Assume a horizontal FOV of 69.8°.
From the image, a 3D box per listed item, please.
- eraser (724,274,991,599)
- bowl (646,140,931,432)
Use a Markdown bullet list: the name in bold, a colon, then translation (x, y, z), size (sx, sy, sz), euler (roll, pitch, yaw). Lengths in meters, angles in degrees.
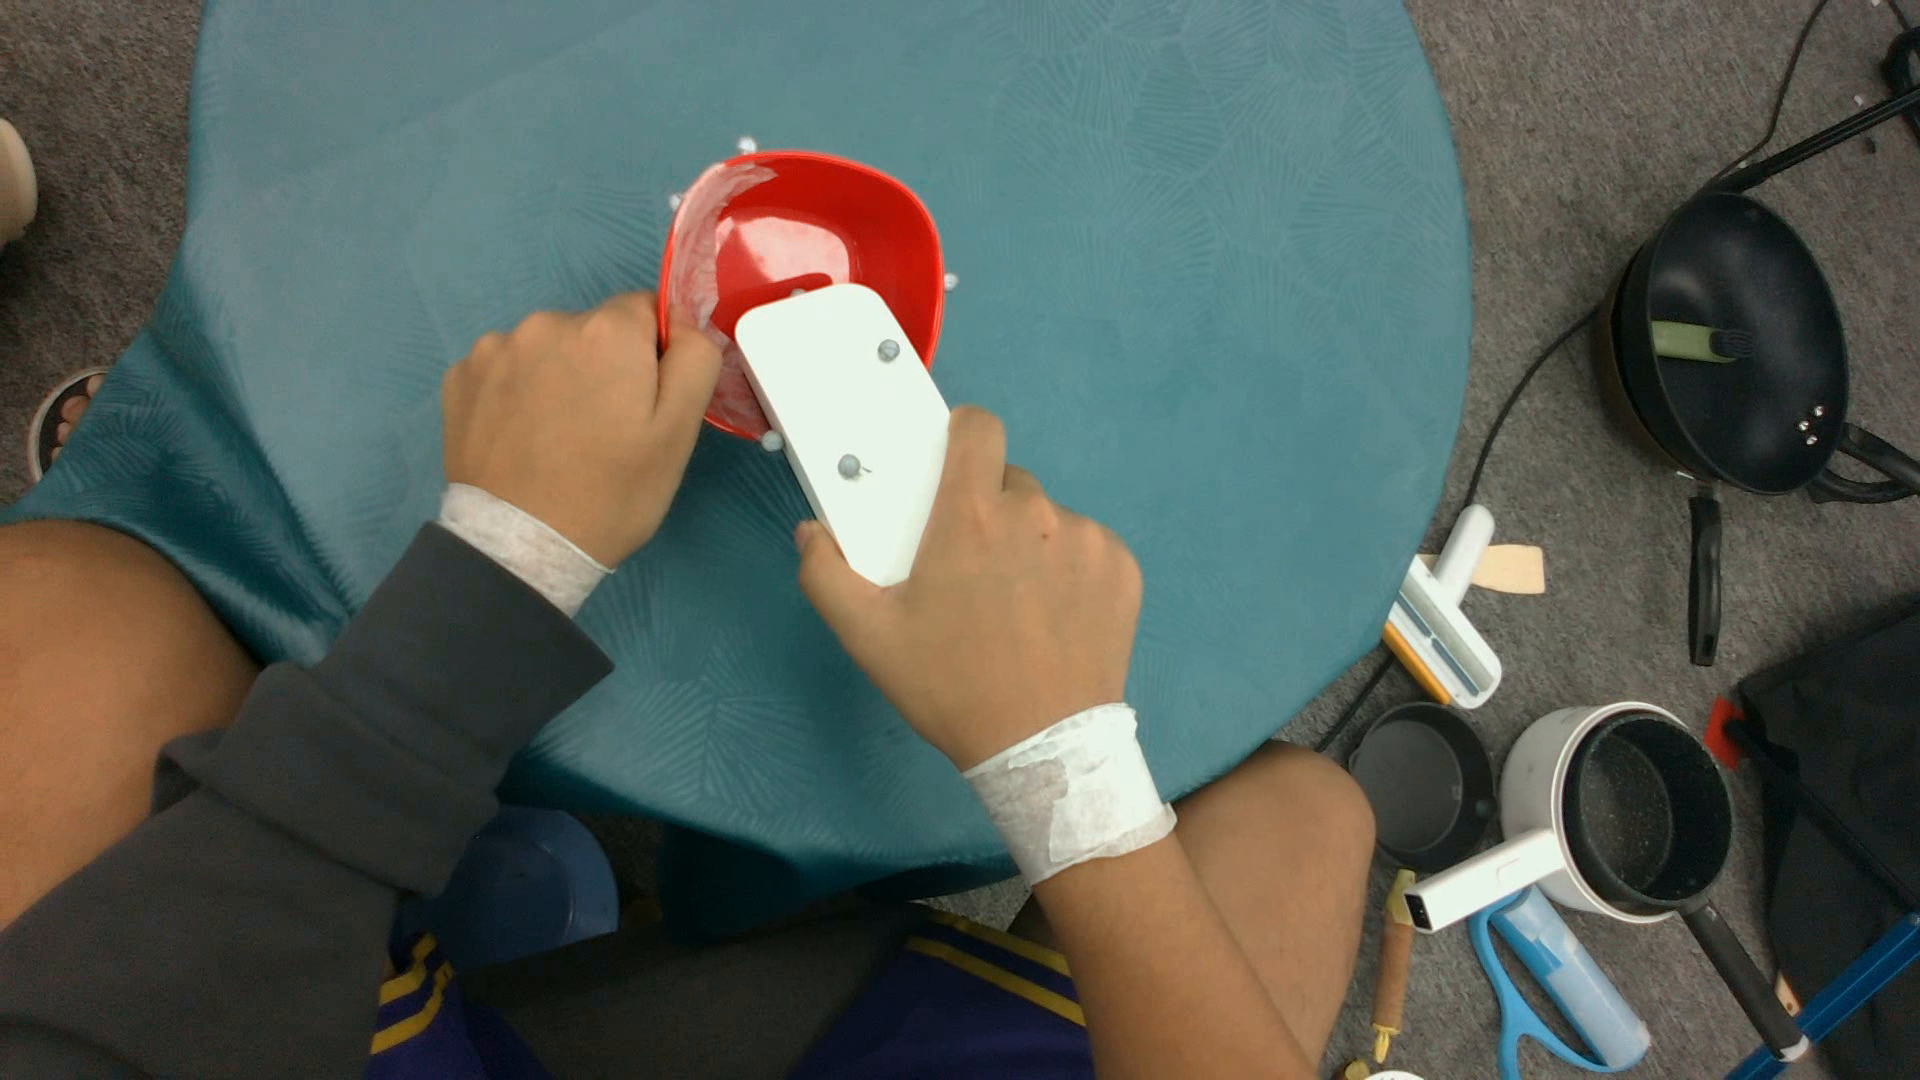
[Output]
- **eraser**: translation (-0.041, -0.041, 0.518), size (0.063, 0.034, 0.131), euler (-20, 67, -19)
- **bowl**: translation (-0.072, -0.101, 0.541), size (0.119, 0.051, 0.118), euler (-7, 109, -22)
